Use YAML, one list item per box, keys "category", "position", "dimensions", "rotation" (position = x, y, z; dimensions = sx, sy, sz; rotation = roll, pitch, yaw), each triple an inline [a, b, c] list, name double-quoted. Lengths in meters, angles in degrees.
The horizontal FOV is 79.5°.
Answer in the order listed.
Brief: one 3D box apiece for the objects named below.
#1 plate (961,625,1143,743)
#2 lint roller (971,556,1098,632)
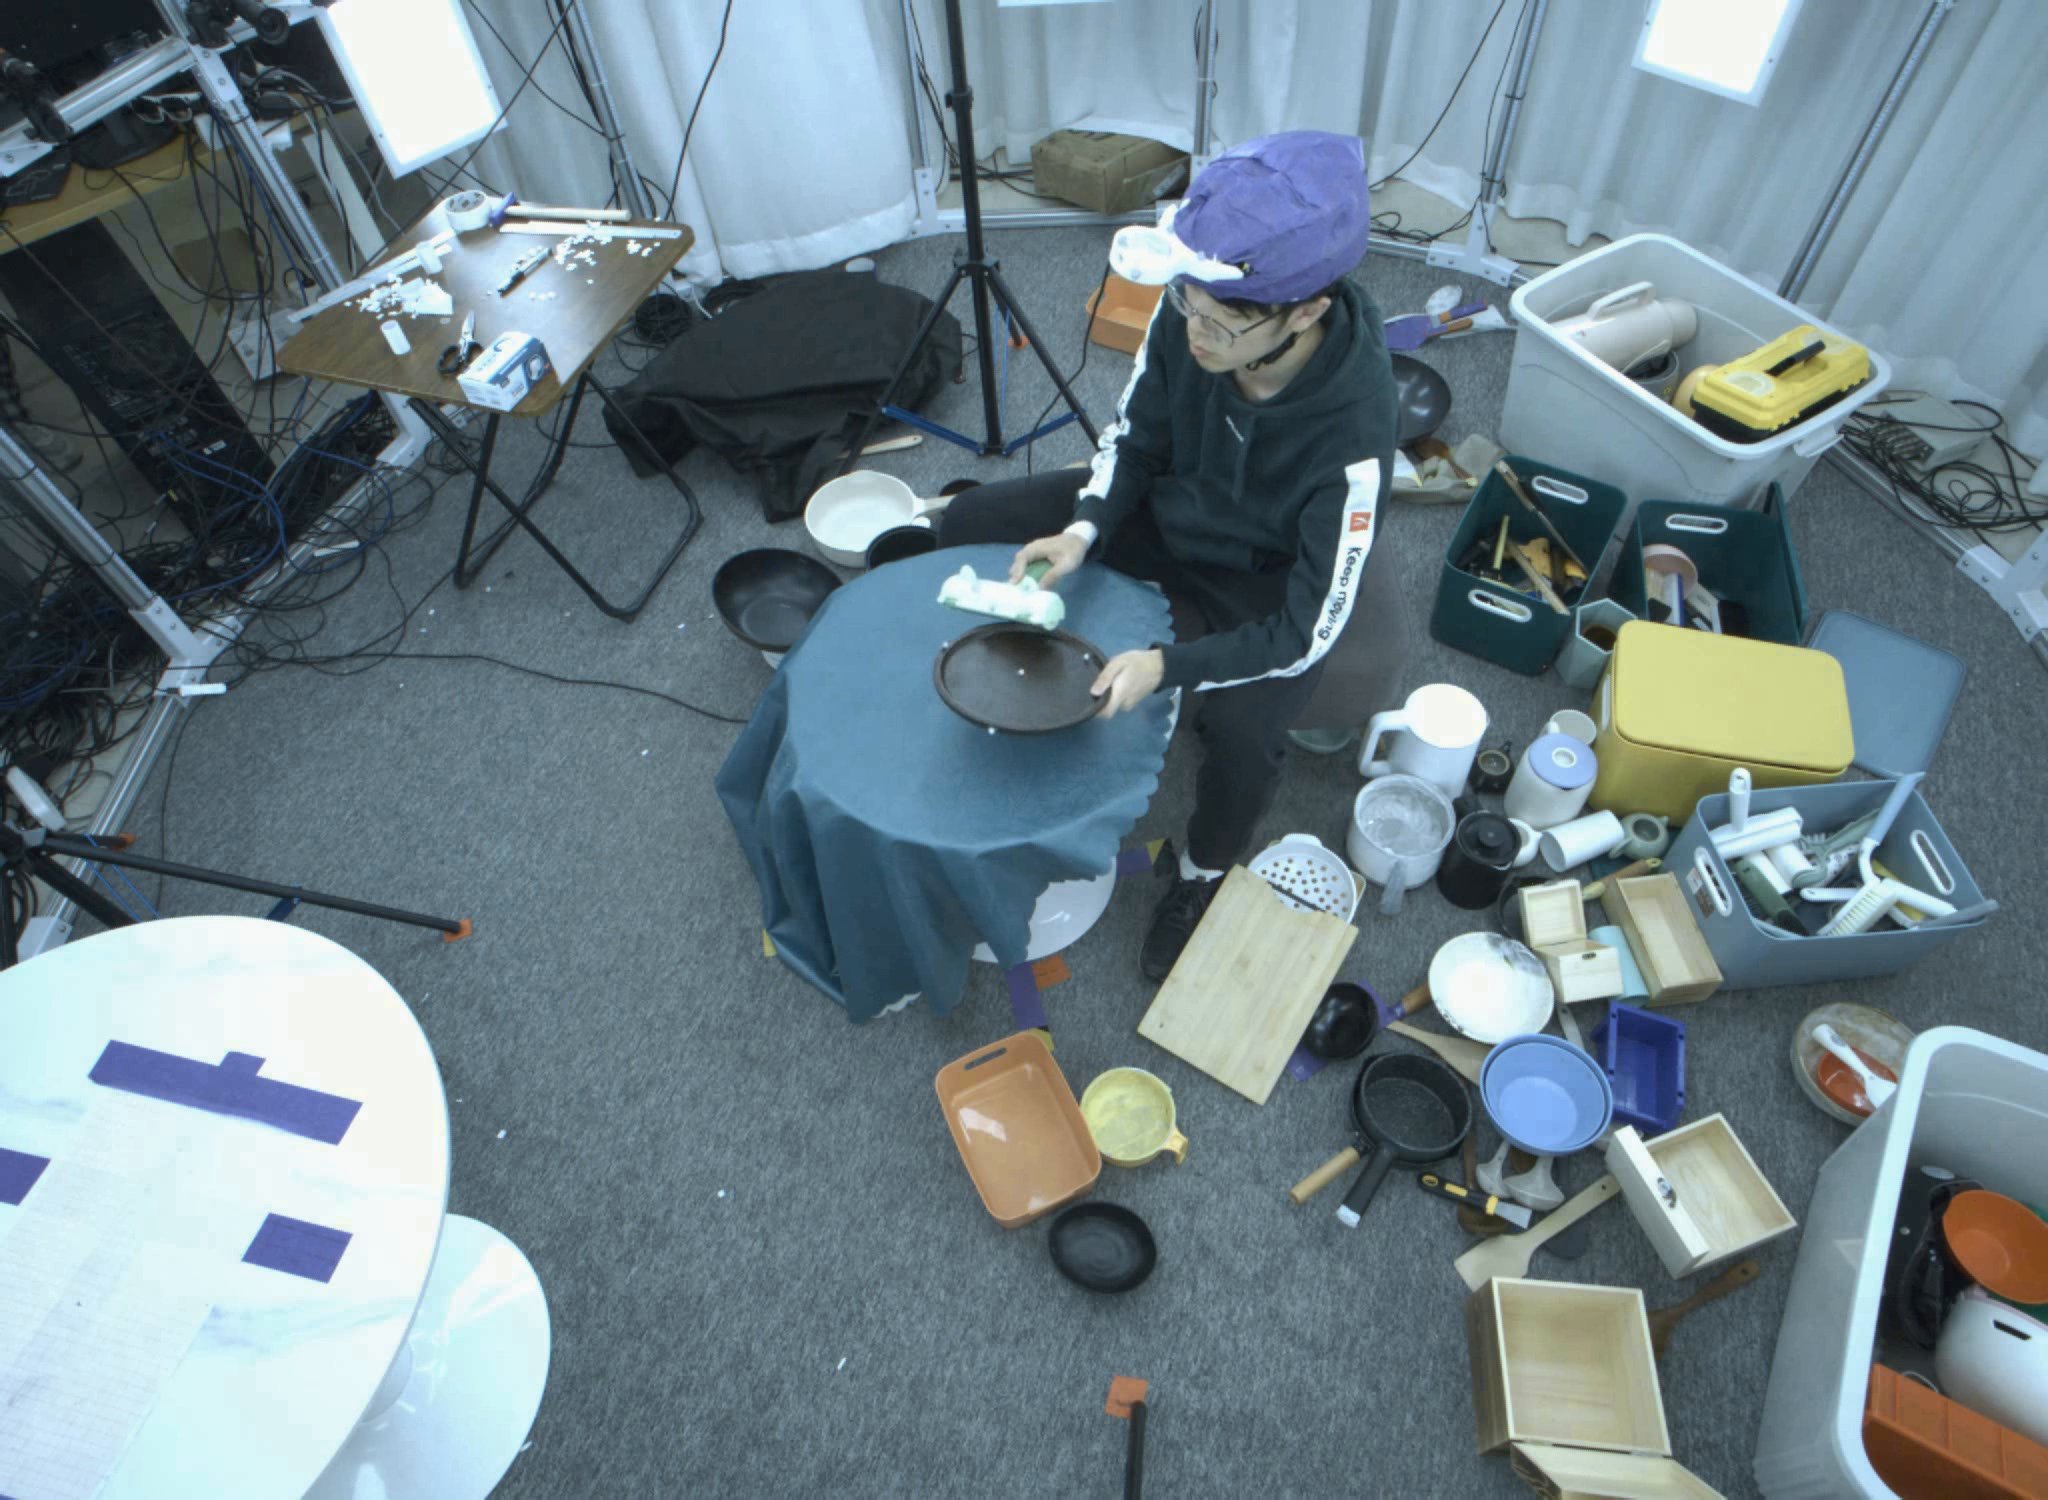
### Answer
- category: "plate"
  position: [0.039, -0.093, 1.702]
  dimensions: [0.255, 0.029, 0.252]
  rotation: [4, 40, -2]
- category: "lint roller"
  position: [0.044, -0.255, 1.816]
  dimensions: [0.194, 0.083, 0.184]
  rotation: [17, 53, 34]
